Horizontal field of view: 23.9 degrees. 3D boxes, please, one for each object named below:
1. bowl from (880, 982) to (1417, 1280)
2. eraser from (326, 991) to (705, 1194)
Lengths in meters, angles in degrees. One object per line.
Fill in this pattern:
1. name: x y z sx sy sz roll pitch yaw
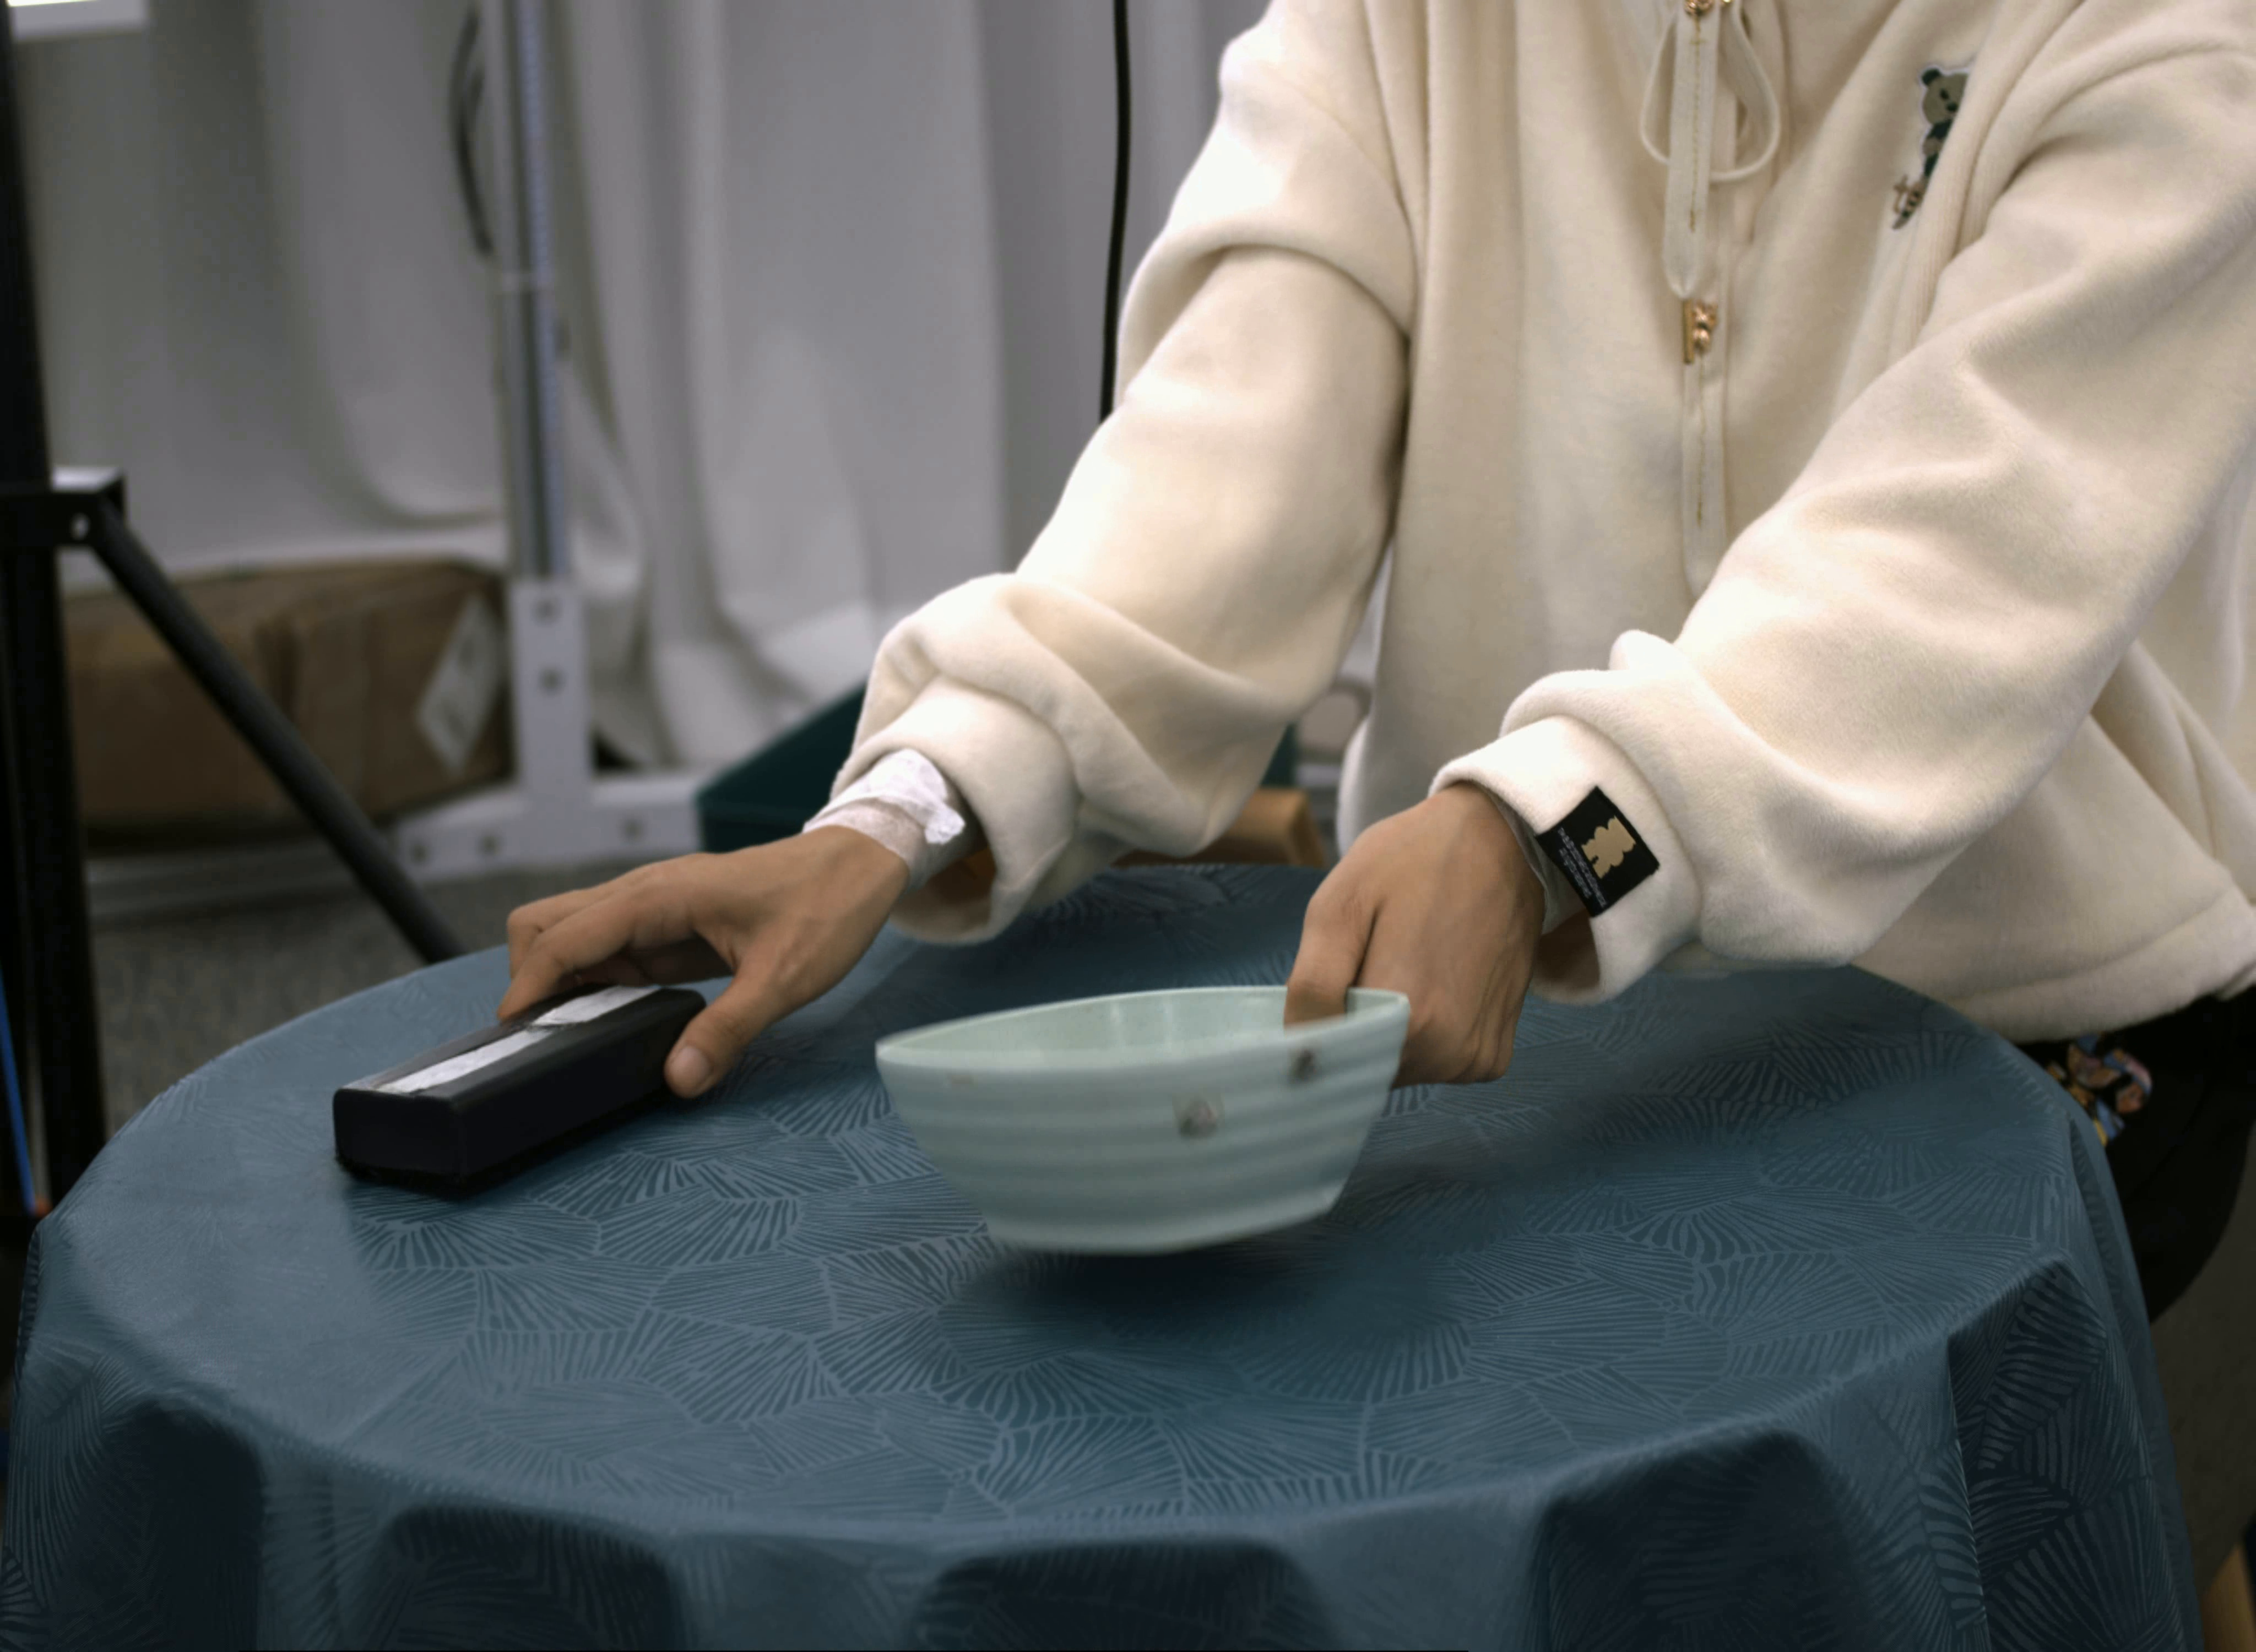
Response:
1. bowl: 0.008 0.087 1.489 0.151 0.059 0.152 -5 9 -1
2. eraser: -0.186 0.081 1.633 0.054 0.030 0.123 6 15 32
